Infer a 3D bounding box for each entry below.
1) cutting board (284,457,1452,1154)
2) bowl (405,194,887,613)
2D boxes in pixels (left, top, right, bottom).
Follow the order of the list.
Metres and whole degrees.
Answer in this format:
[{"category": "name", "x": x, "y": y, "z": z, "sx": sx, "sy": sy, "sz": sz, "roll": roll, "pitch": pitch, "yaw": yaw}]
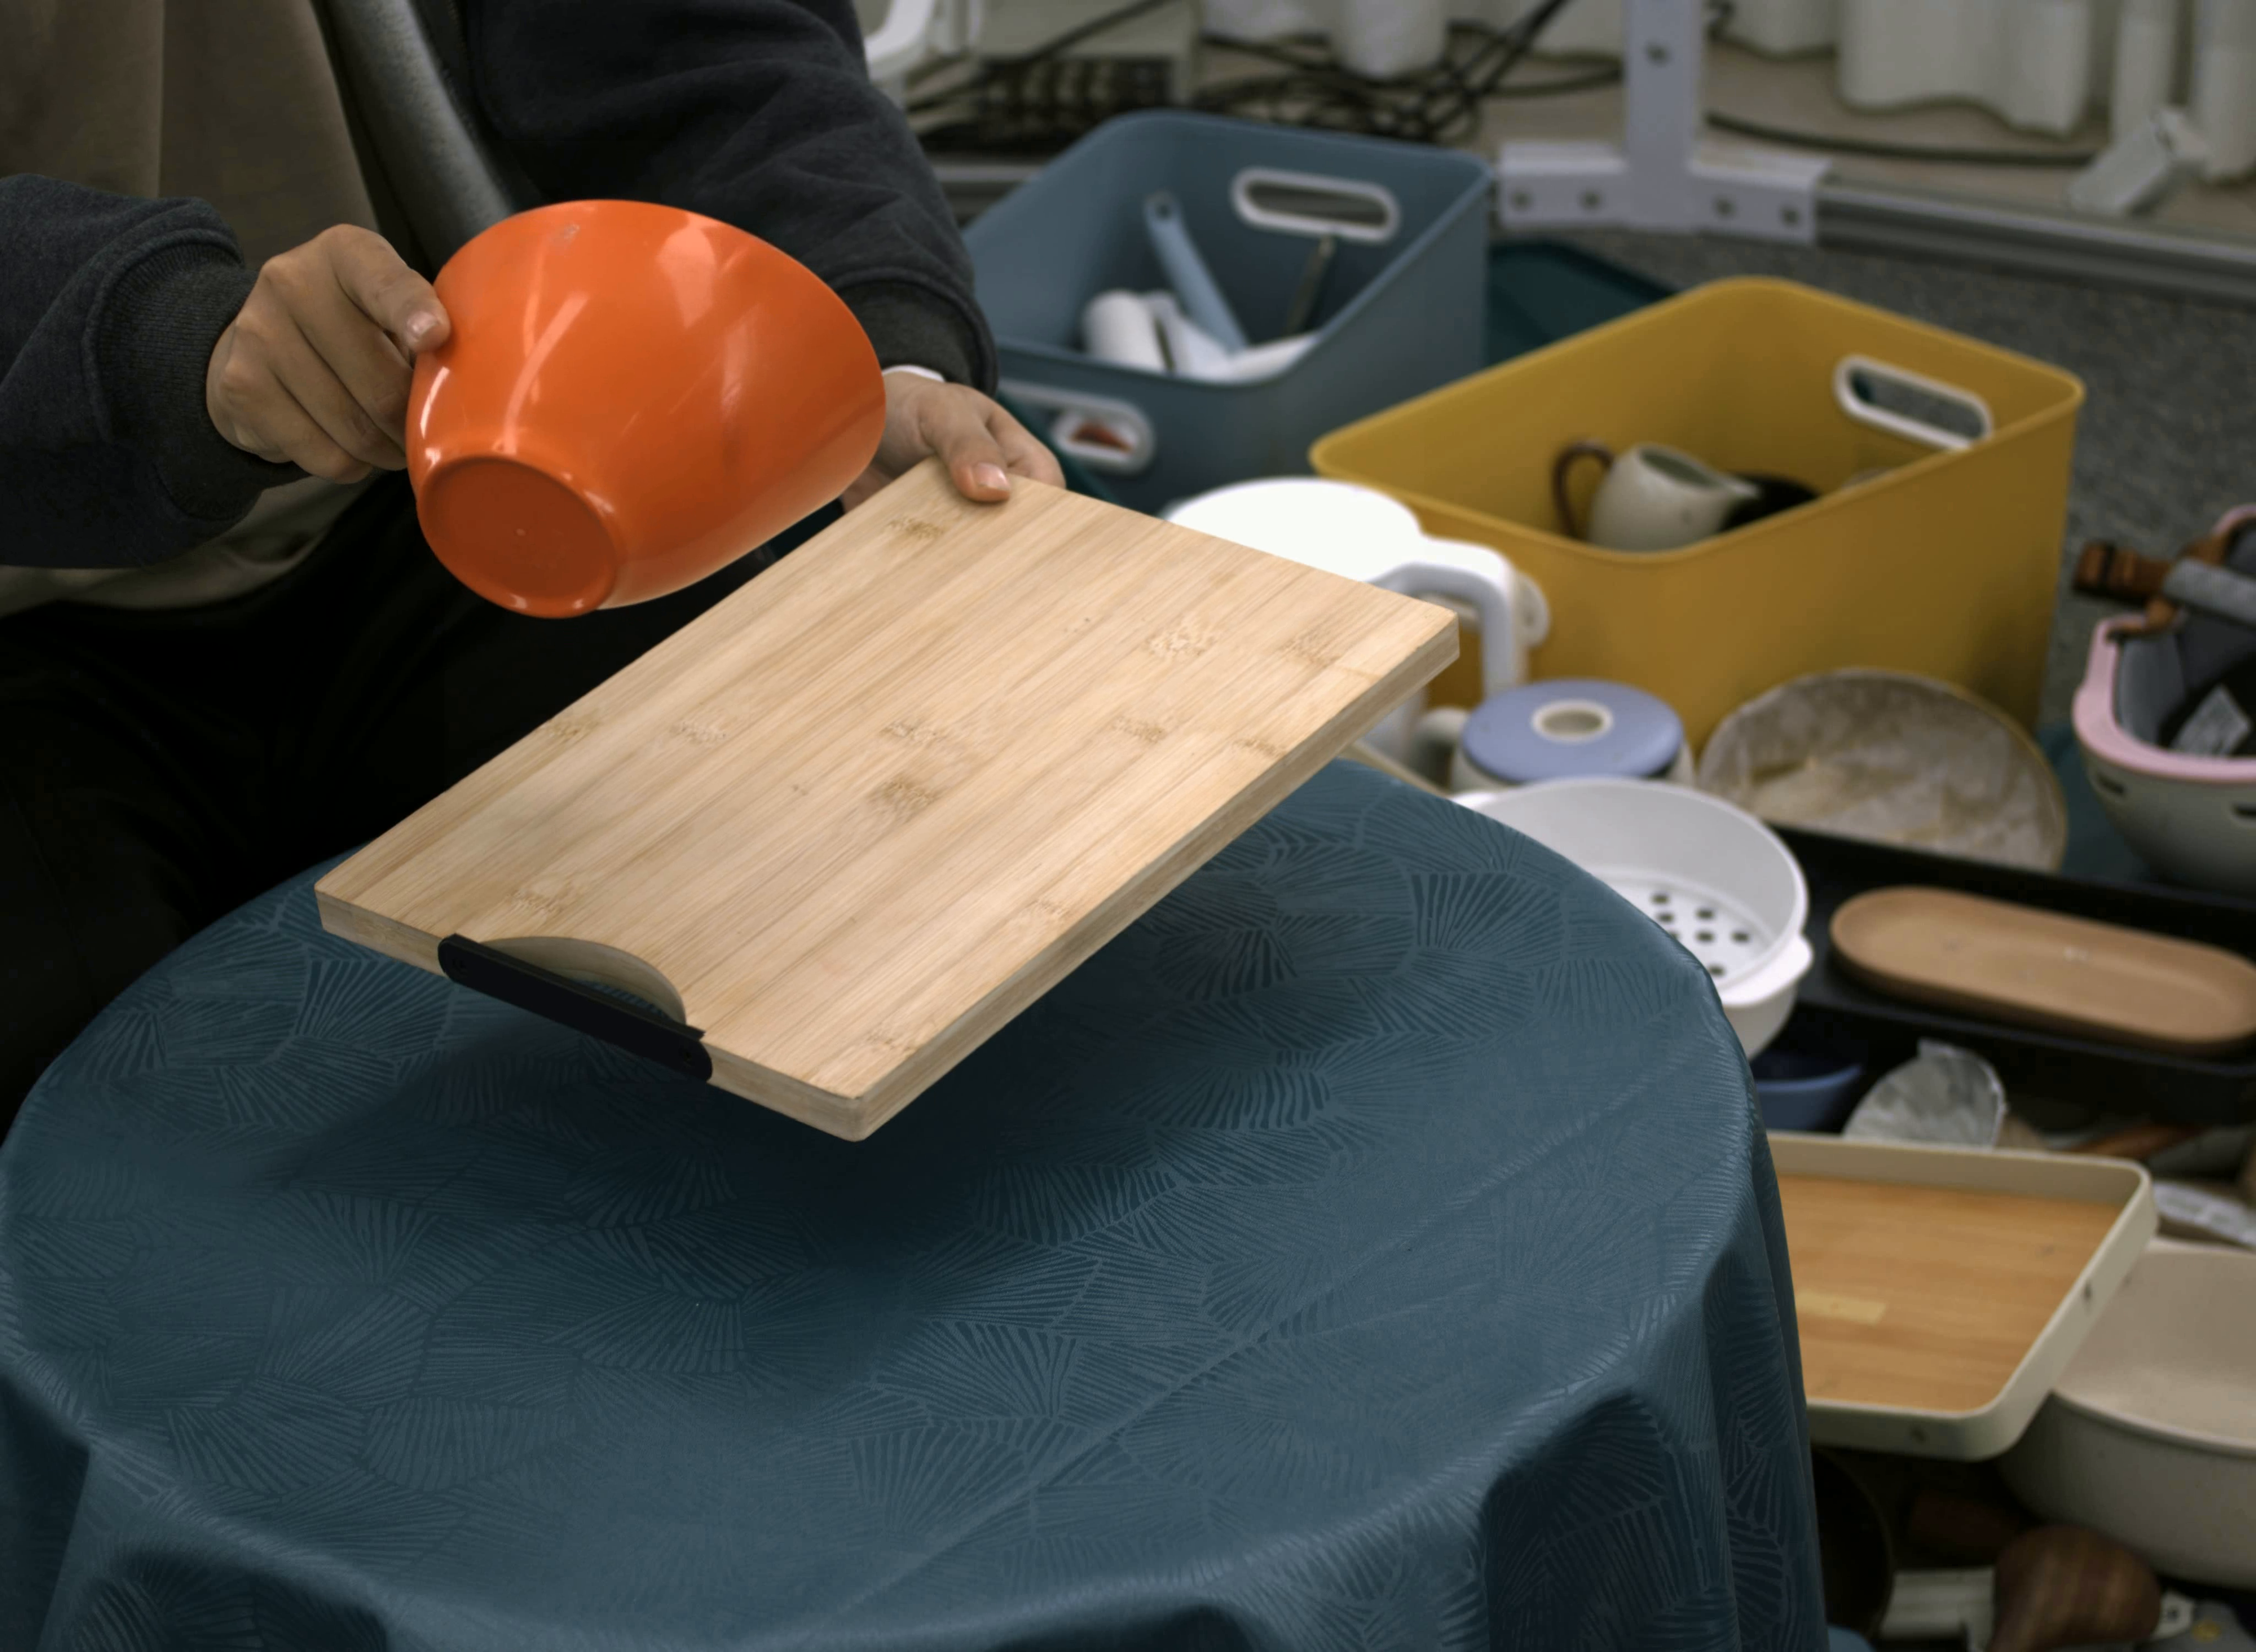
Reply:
[{"category": "cutting board", "x": -0.082, "y": -0.016, "z": 1.936, "sx": 0.250, "sy": 0.023, "sz": 0.354, "roll": 18, "pitch": 39, "yaw": 32}, {"category": "bowl", "x": -0.161, "y": -0.118, "z": 1.762, "sx": 0.147, "sy": 0.146, "sz": 0.107, "roll": 8, "pitch": 45, "yaw": 19}]
